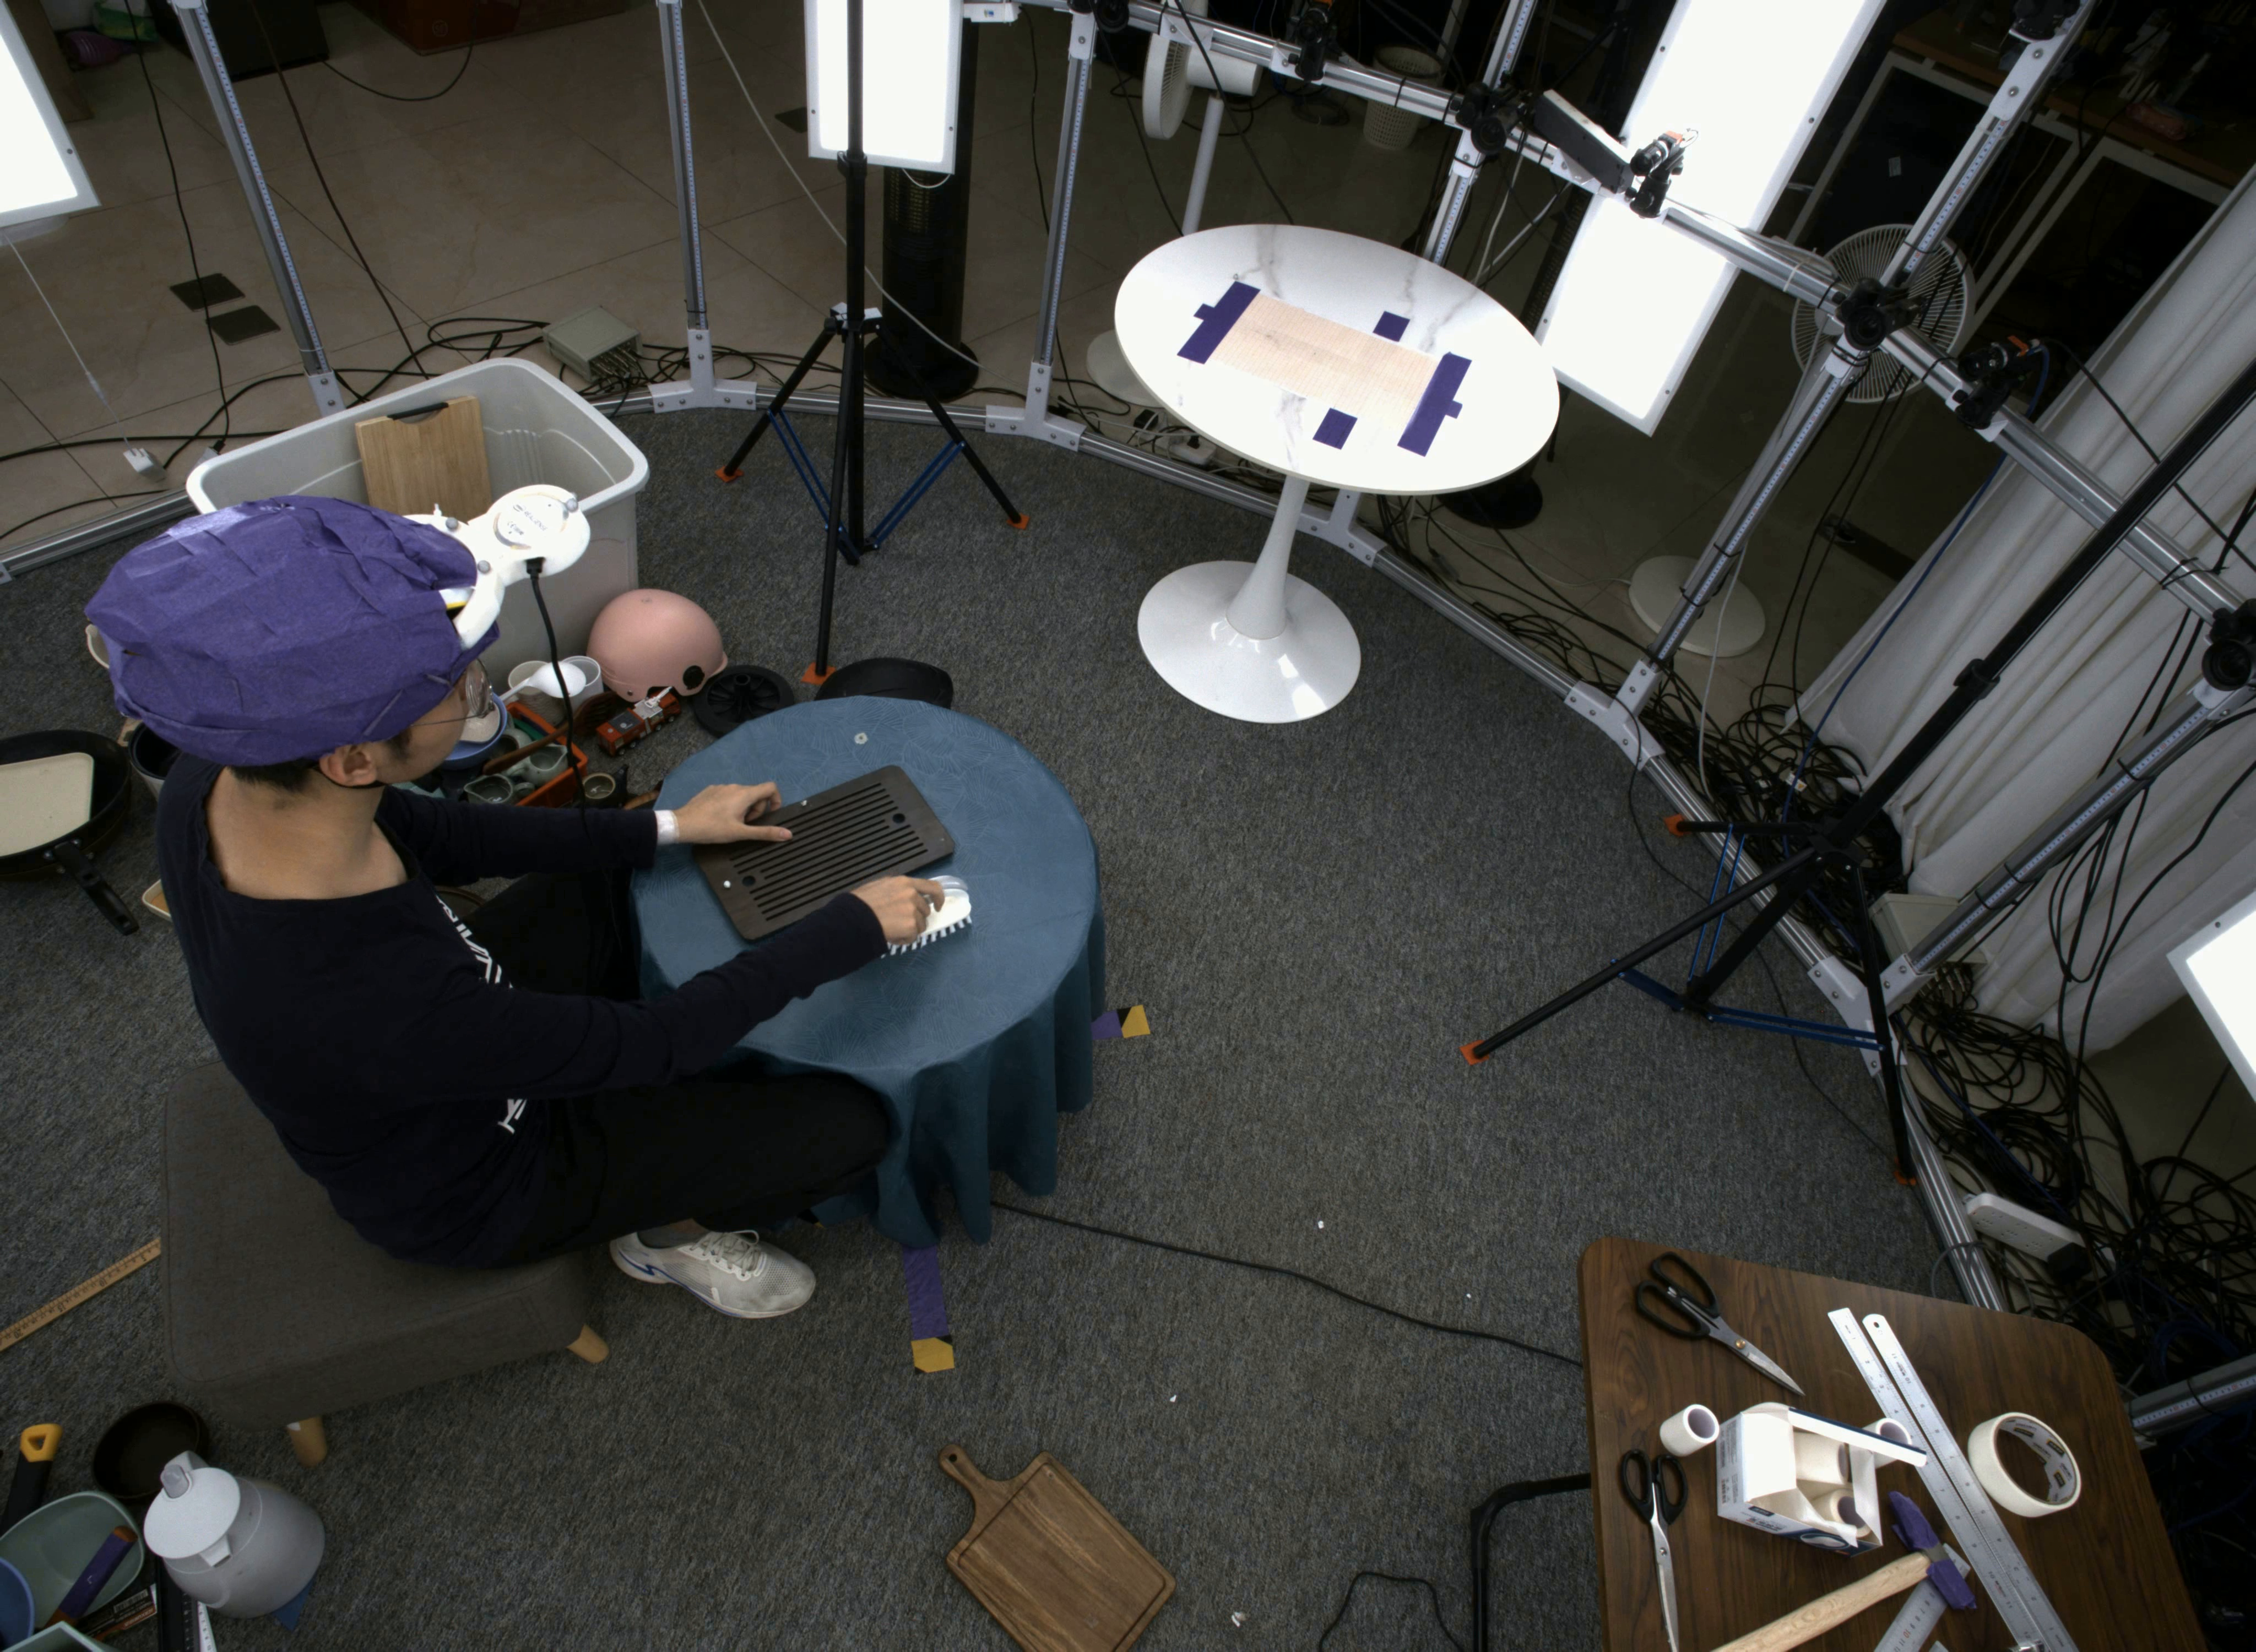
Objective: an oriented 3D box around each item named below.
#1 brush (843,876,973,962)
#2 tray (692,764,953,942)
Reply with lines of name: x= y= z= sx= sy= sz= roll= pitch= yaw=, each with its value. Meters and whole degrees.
brush: x=-0.276 y=0.112 z=1.622 sx=0.176 sy=0.096 sz=0.060 roll=-23 pitch=63 yaw=-25
tray: x=-0.397 y=0.030 z=1.699 sx=0.307 sy=0.019 sz=0.166 roll=-25 pitch=63 yaw=-28
